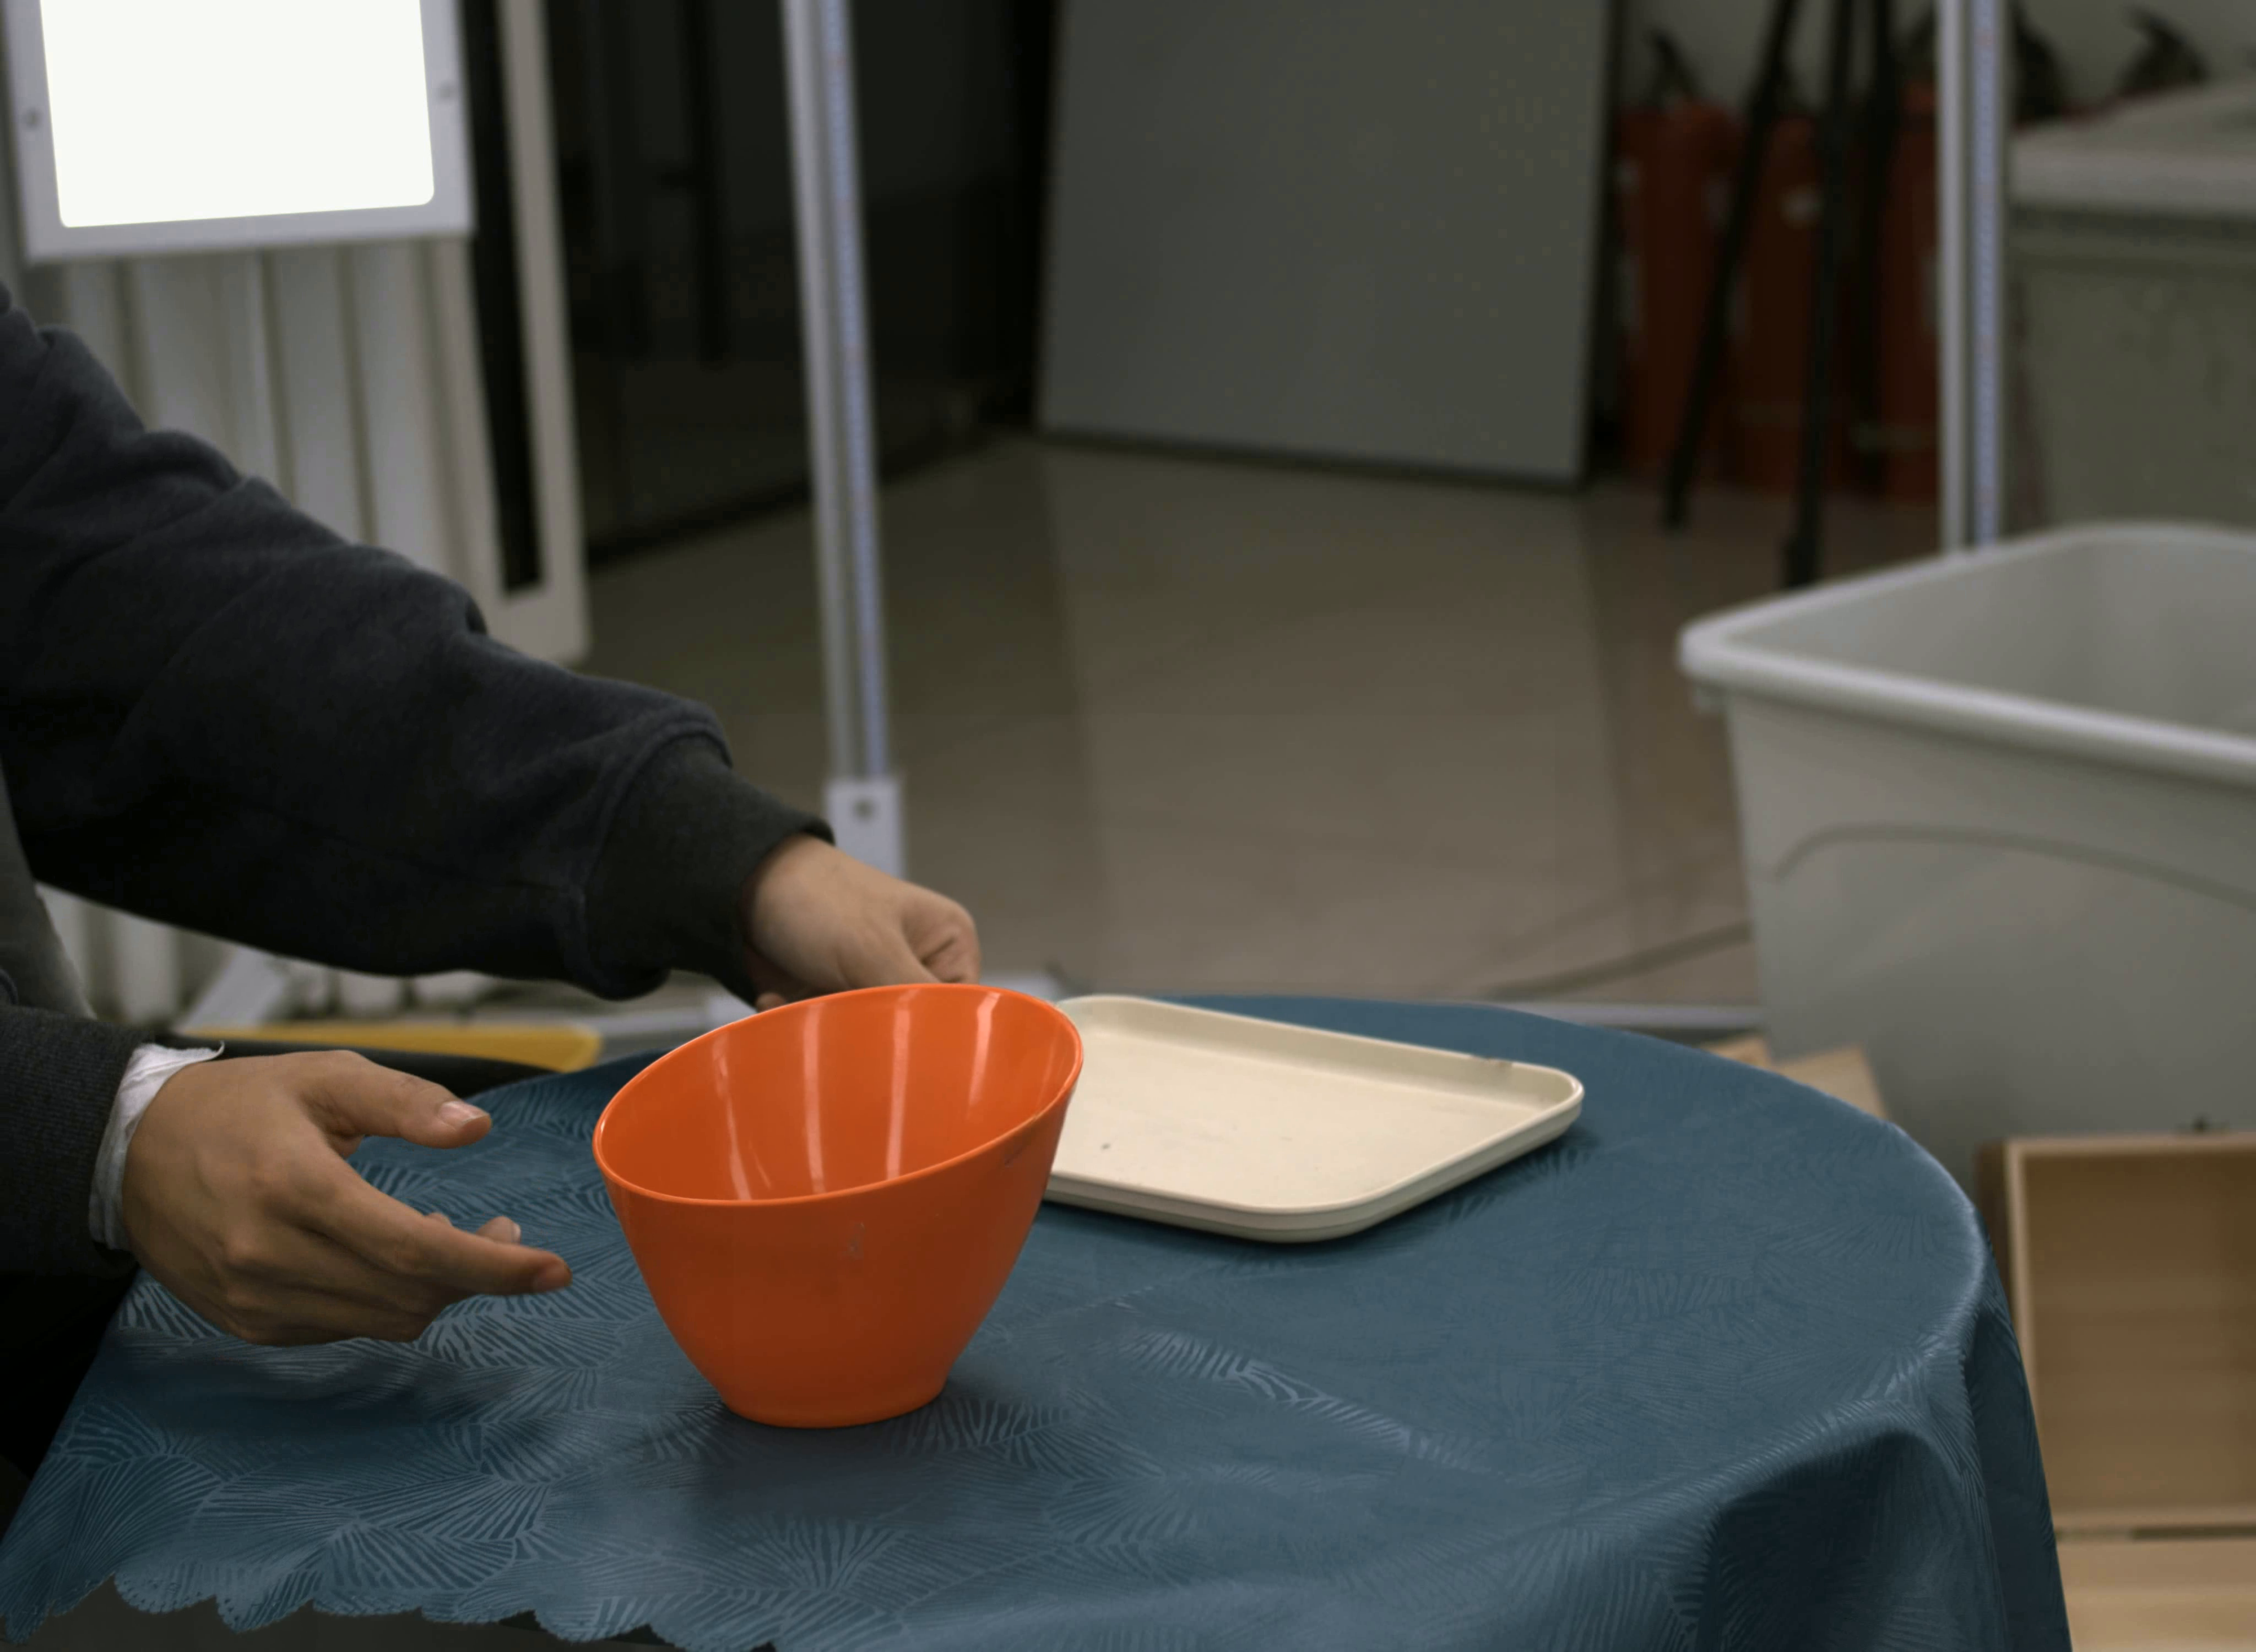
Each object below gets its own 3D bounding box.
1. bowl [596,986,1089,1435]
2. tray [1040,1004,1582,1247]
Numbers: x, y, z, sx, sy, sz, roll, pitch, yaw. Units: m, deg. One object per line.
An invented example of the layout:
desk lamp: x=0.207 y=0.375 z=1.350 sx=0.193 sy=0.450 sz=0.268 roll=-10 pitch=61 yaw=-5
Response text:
bowl: x=-0.082 y=0.117 z=1.595 sx=0.146 sy=0.106 sz=0.148 roll=-3 pitch=14 yaw=0
tray: x=0.021 y=0.100 z=1.814 sx=0.241 sy=0.017 sz=0.168 roll=7 pitch=18 yaw=40
